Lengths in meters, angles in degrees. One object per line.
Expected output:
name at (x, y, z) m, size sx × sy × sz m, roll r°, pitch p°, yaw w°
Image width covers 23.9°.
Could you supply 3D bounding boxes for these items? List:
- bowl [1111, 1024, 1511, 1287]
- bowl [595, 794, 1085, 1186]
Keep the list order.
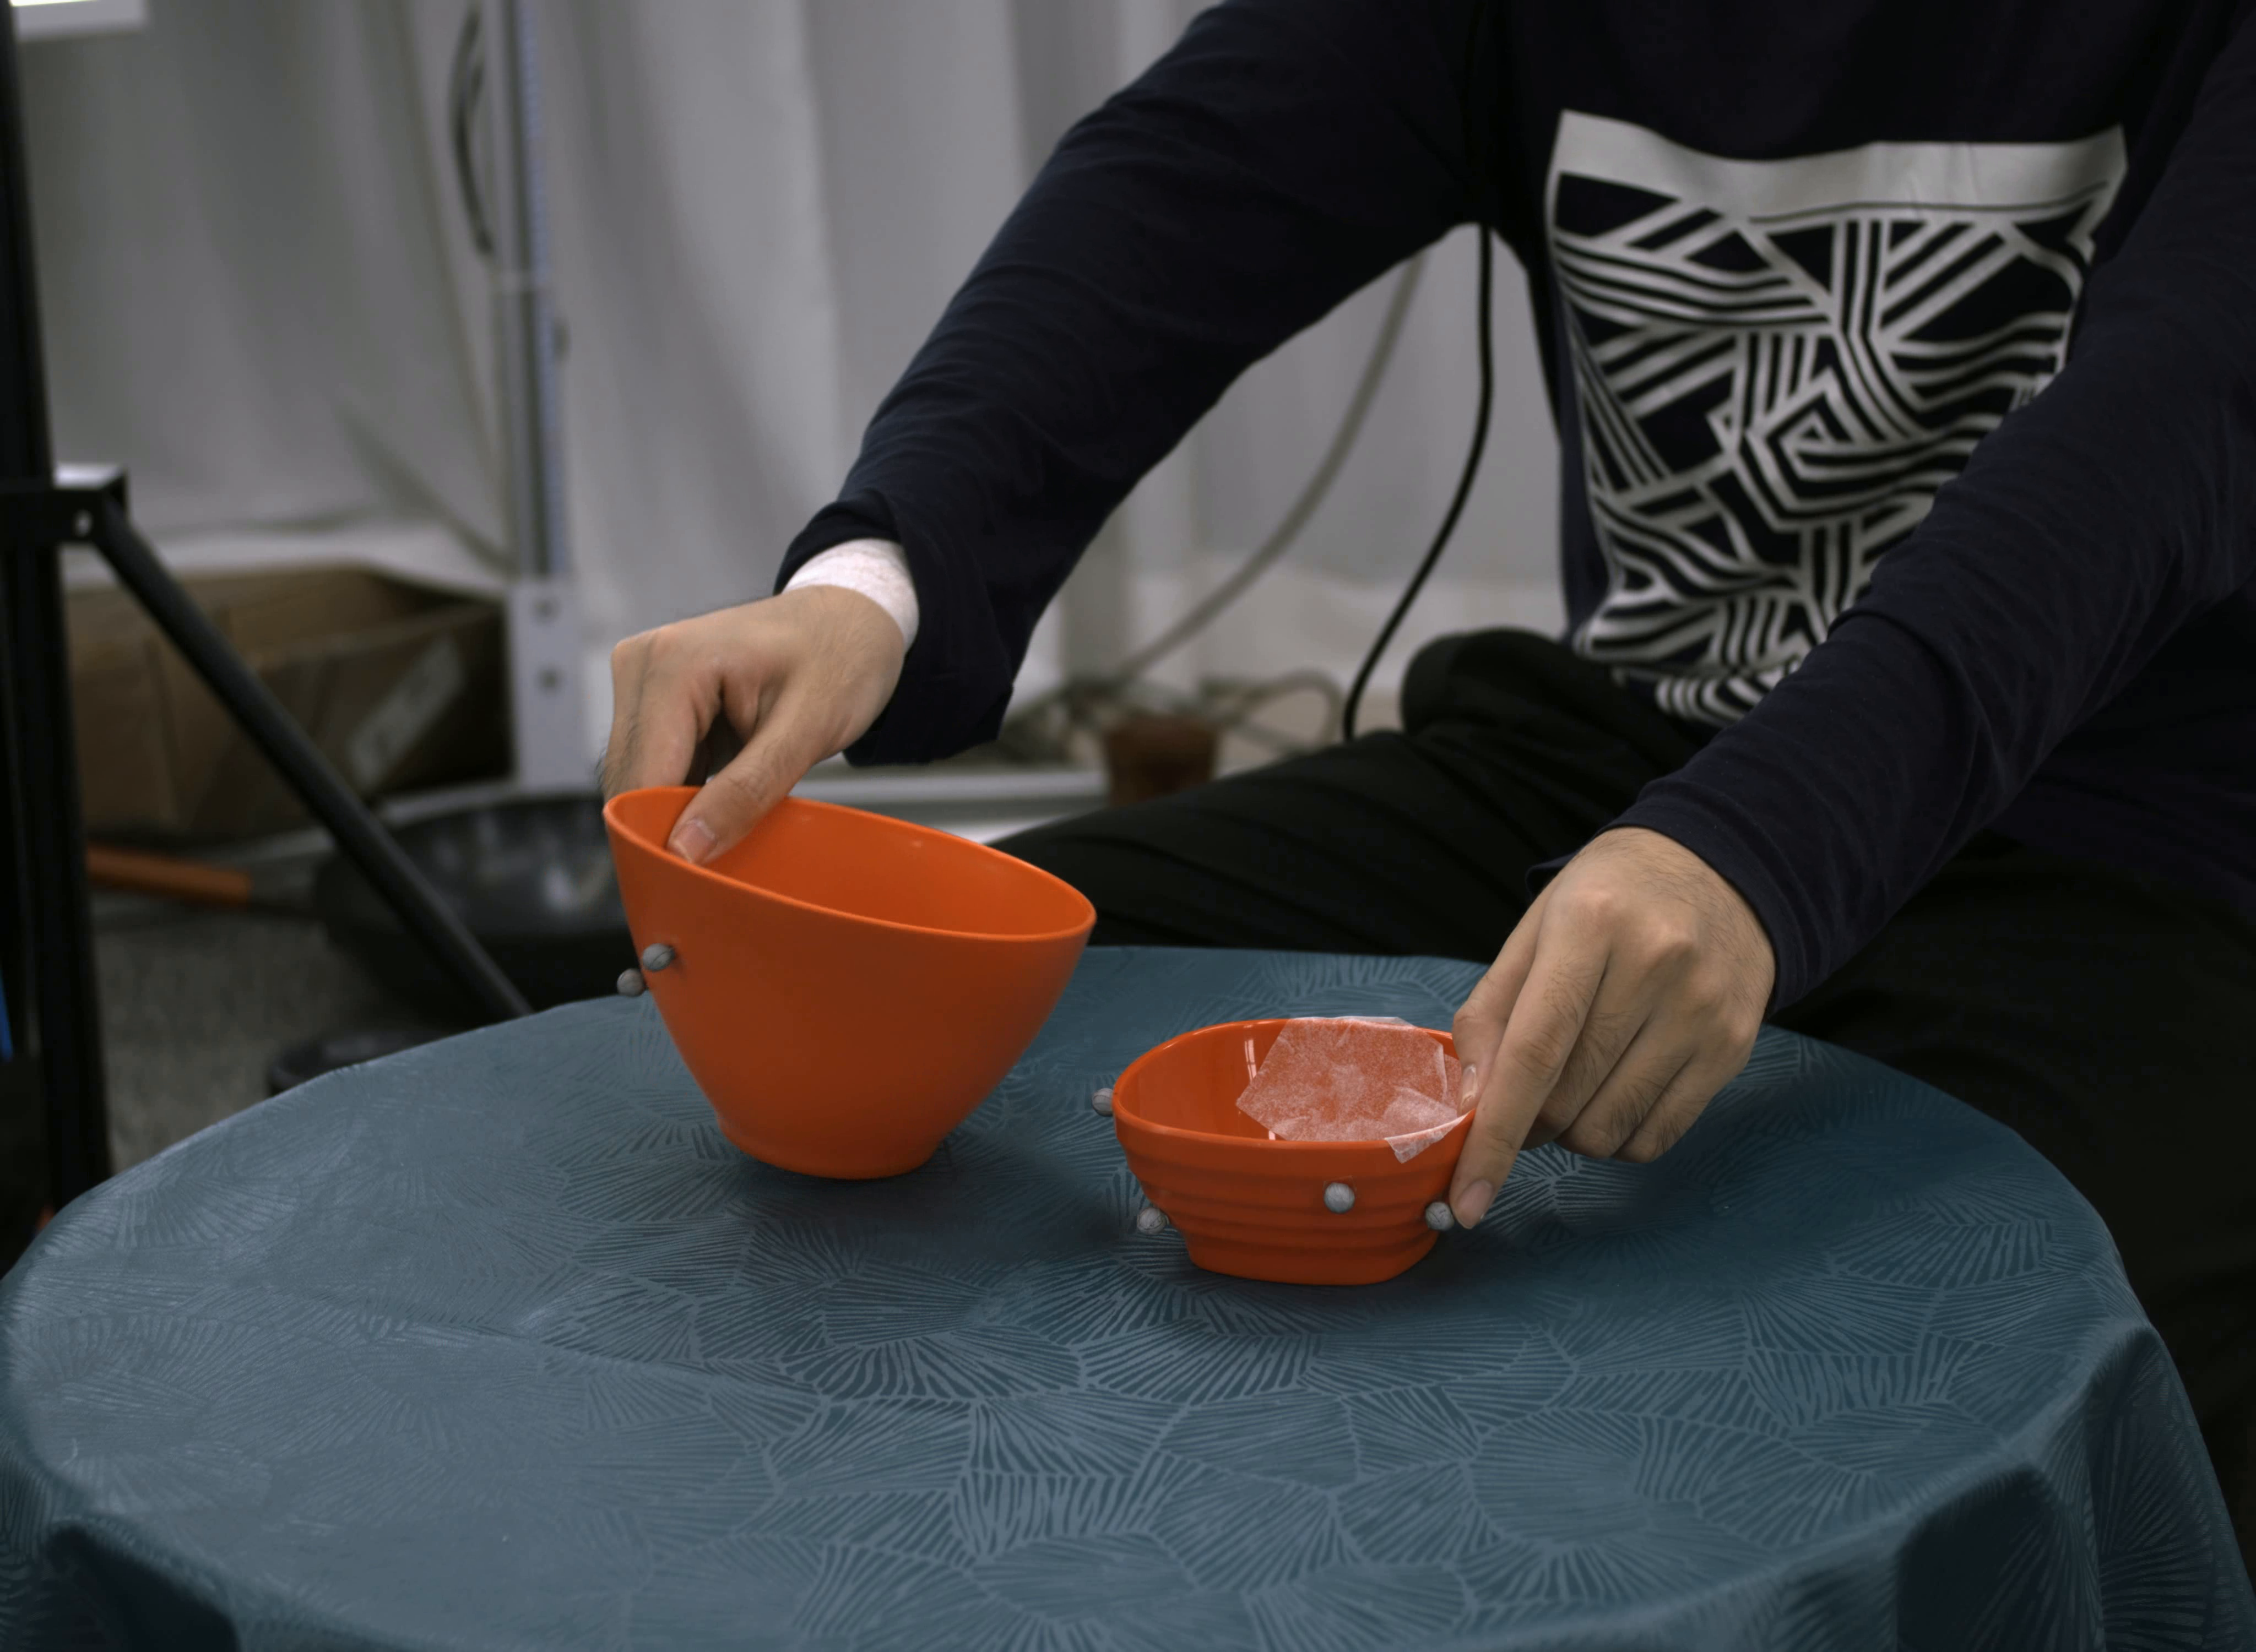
bowl at (0.054, 0.096, 1.506) m, size 0.118 × 0.051 × 0.119 m, roll -4°, pitch 14°, yaw 0°
bowl at (-0.090, 0.050, 1.580) m, size 0.147 × 0.105 × 0.149 m, roll 7°, pitch 19°, yaw -4°
